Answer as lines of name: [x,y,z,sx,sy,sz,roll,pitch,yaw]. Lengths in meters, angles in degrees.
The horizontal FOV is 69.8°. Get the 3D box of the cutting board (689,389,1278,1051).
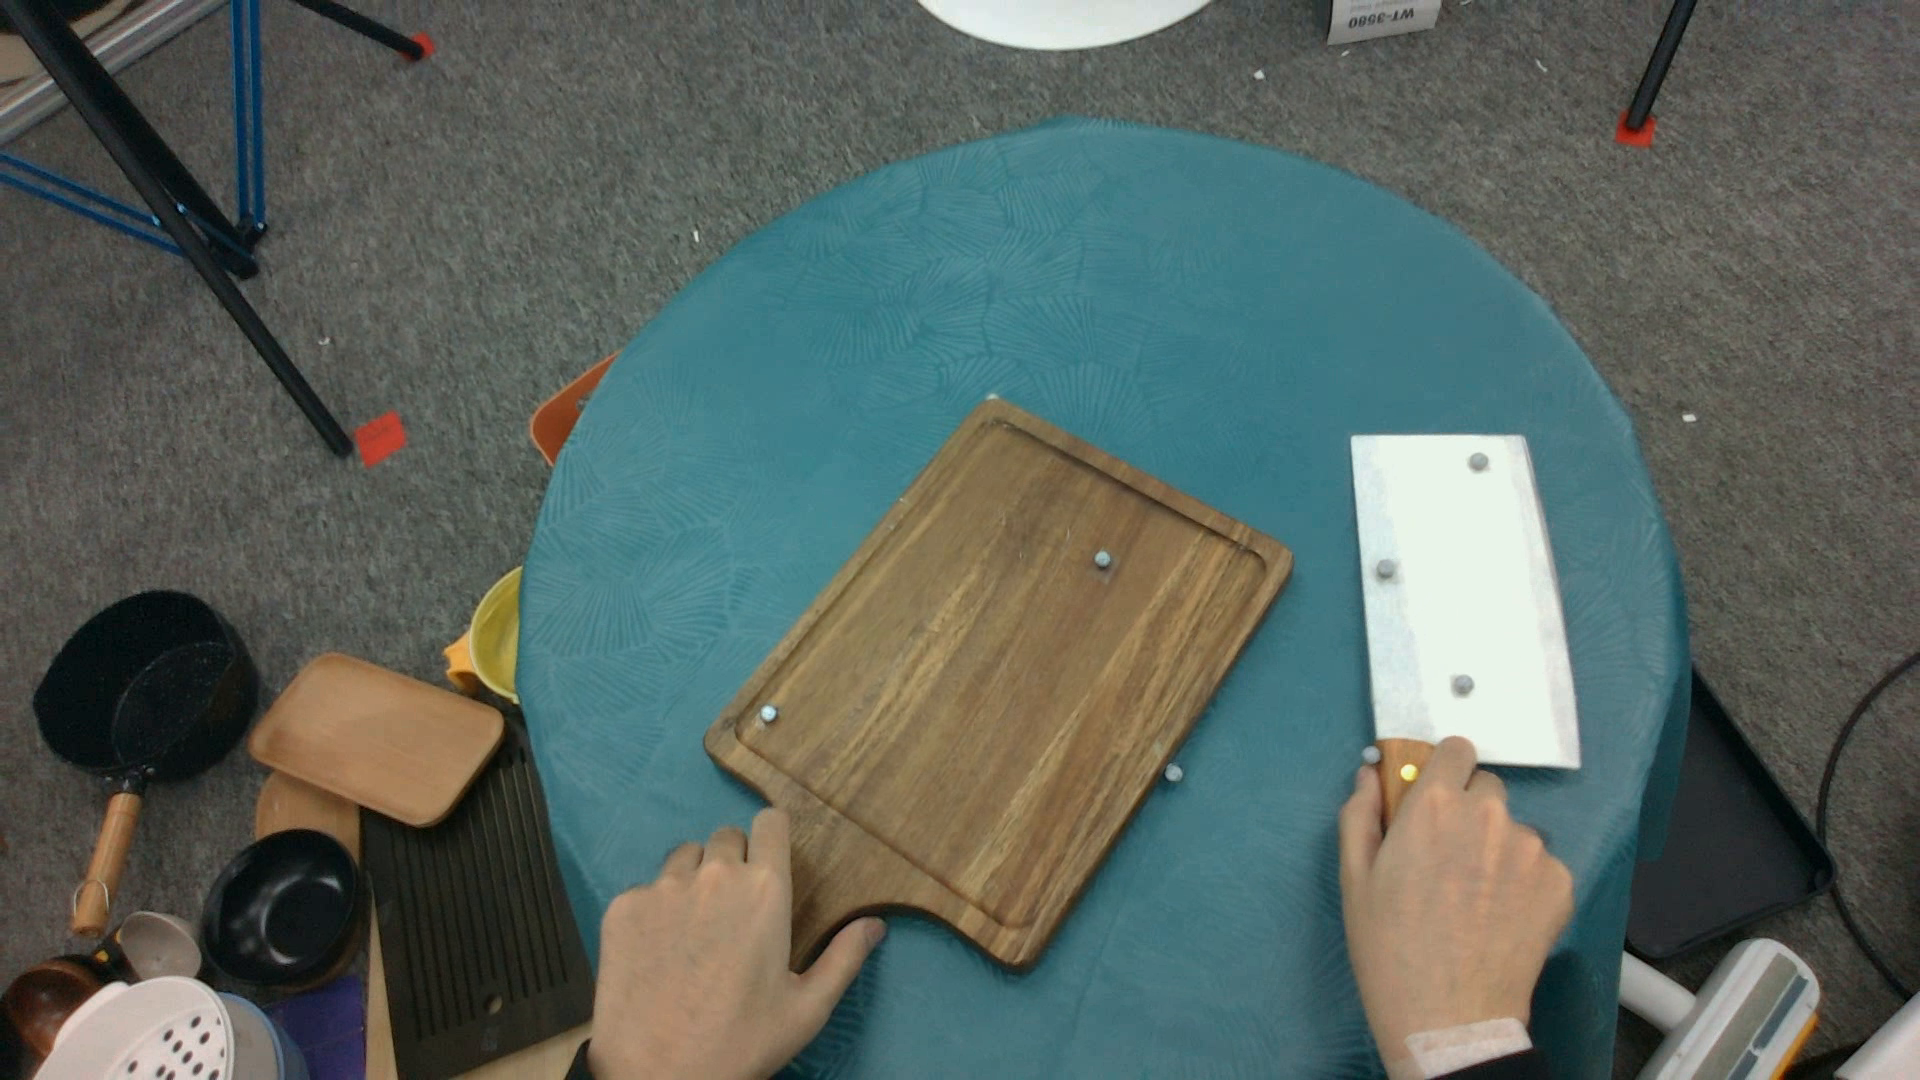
cutting board: [-0.013,0.088,0.670,0.201,0.023,0.353,28,66,21]

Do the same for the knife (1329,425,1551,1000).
knife: [0.230,0.066,0.658,0.093,0.021,0.307,2,56,7]
